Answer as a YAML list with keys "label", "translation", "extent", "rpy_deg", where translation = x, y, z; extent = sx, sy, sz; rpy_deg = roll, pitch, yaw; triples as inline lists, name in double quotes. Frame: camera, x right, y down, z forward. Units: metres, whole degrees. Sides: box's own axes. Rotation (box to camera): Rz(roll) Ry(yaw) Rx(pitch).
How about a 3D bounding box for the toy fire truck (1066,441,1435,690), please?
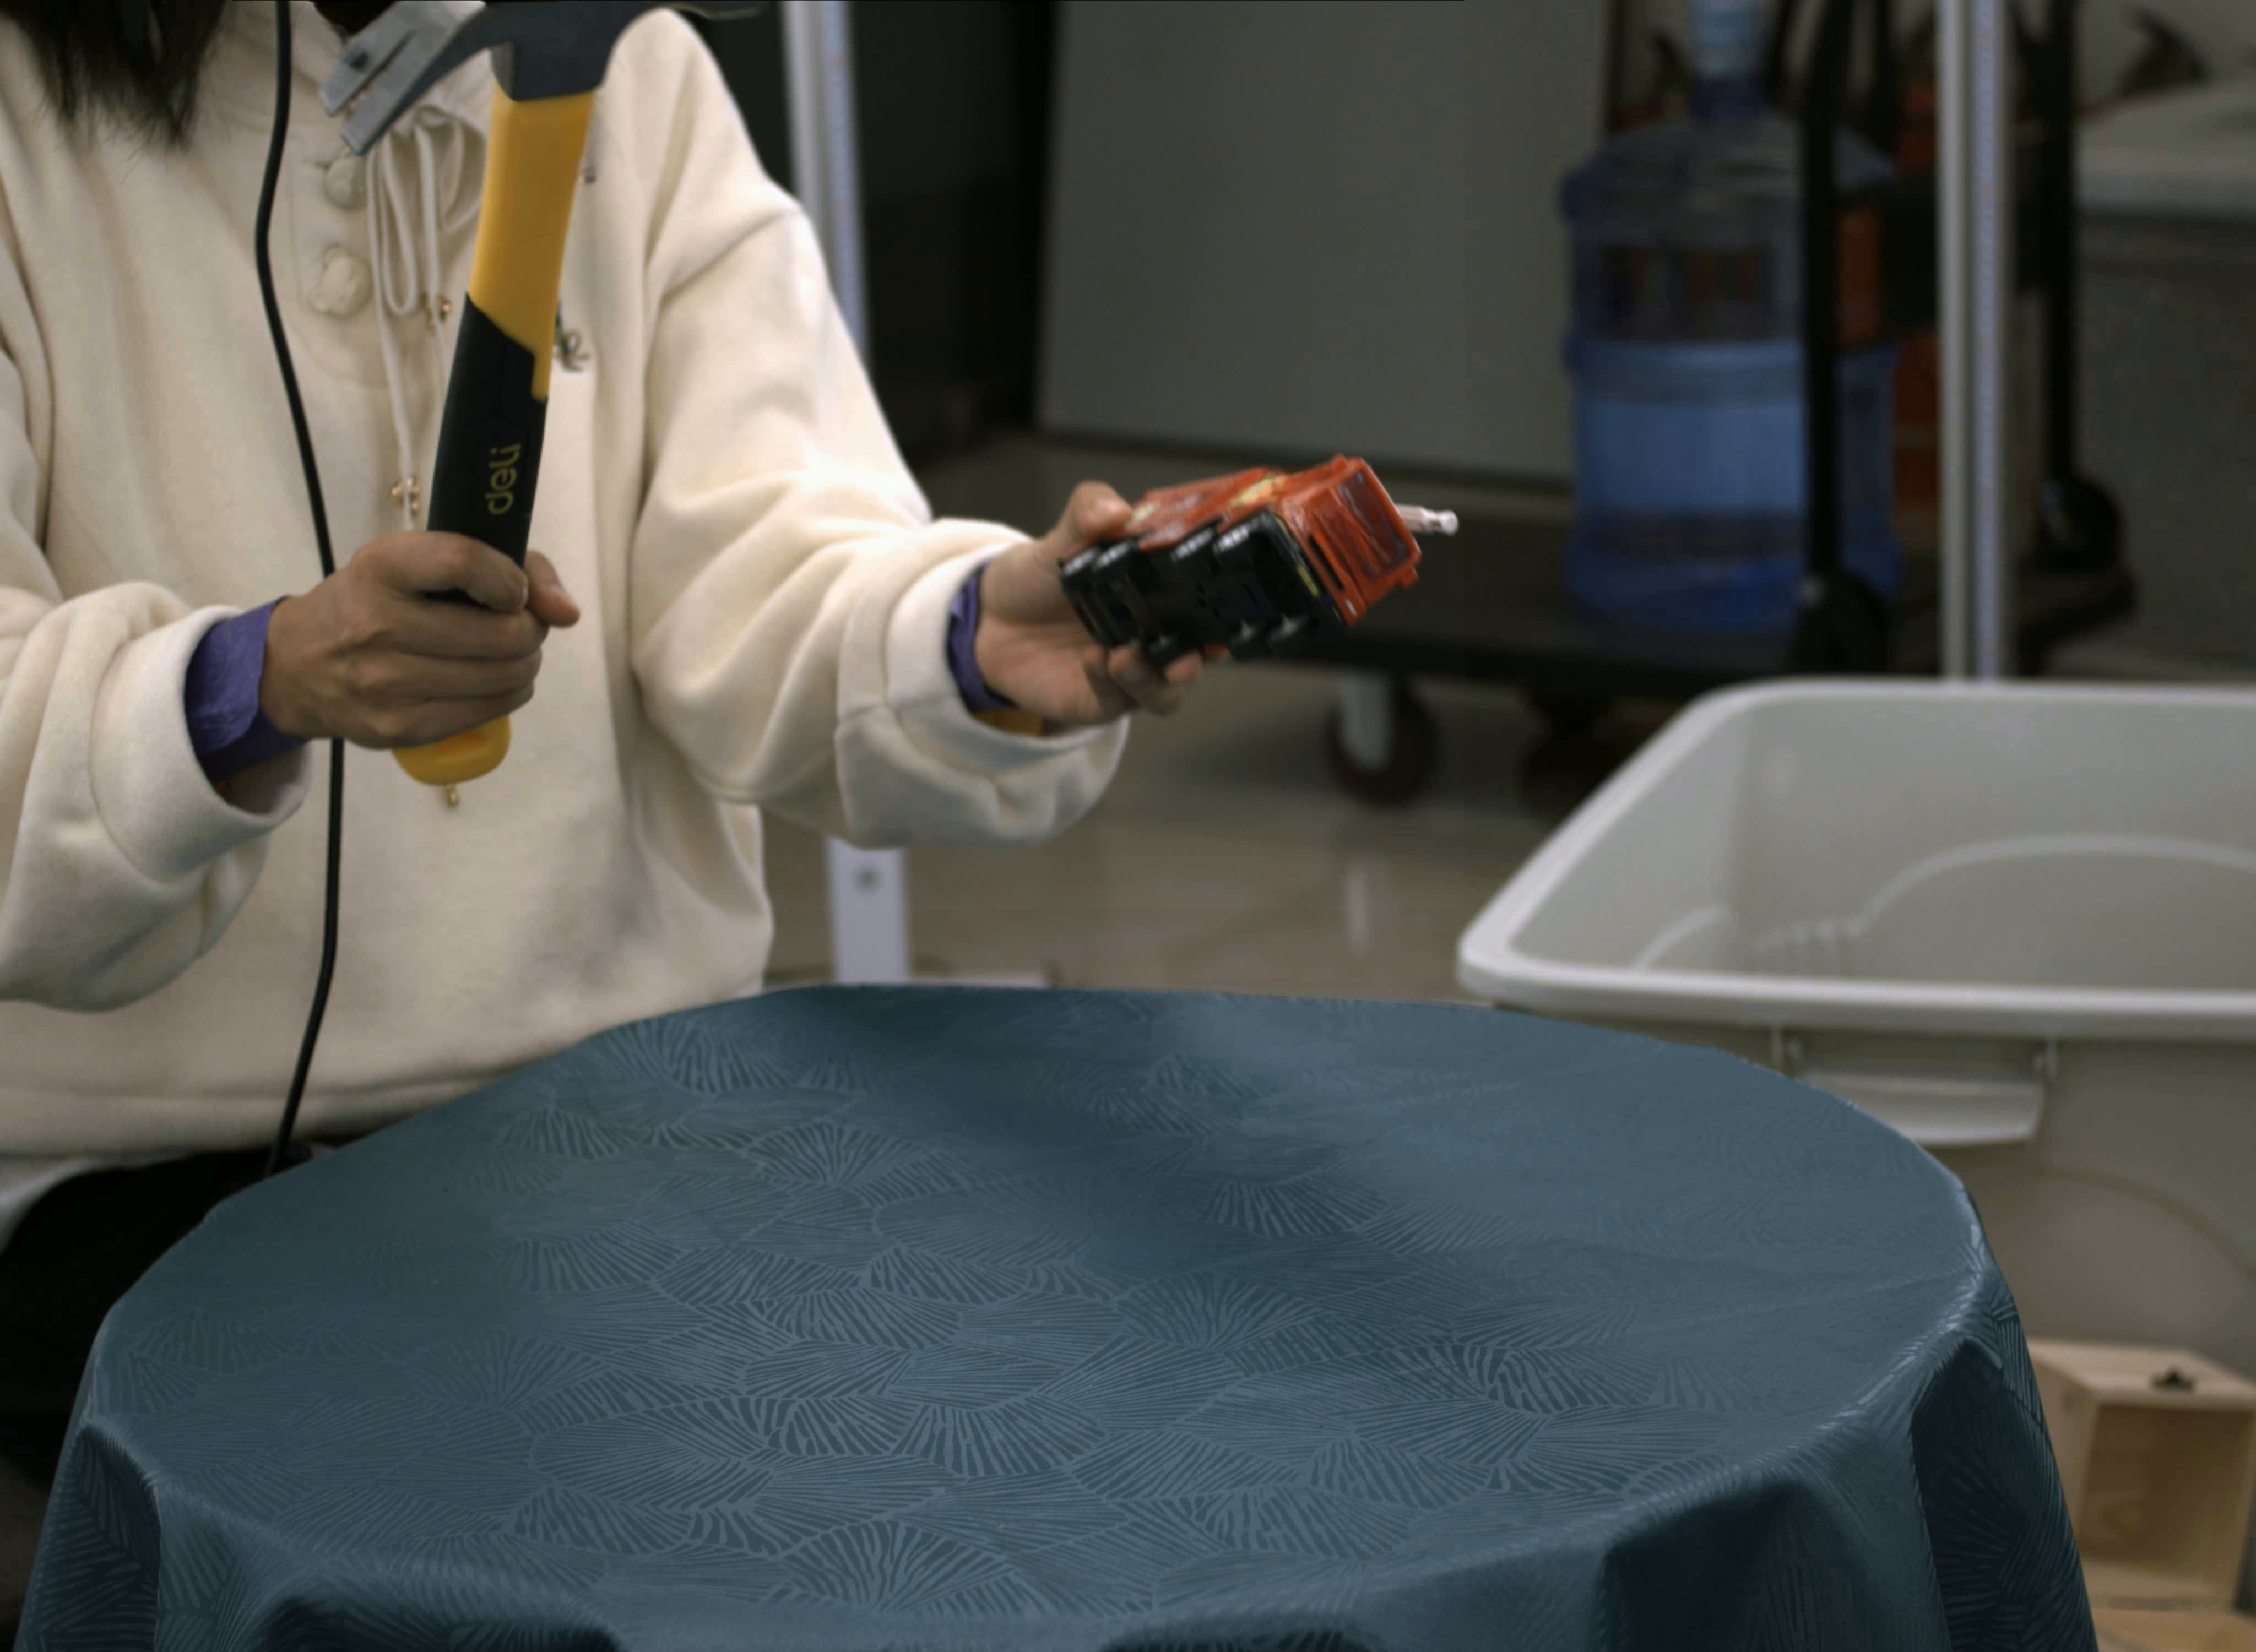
- label: "toy fire truck"
  translation: [0.036, -0.085, 1.763]
  extent: [0.069, 0.054, 0.169]
  rpy_deg: [-38, 13, -22]

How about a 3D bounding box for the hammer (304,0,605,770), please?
- label: "hammer"
  translation: [-0.201, -0.148, 1.711]
  extent: [0.128, 0.341, 0.032]
  rpy_deg: [-13, 49, -25]
